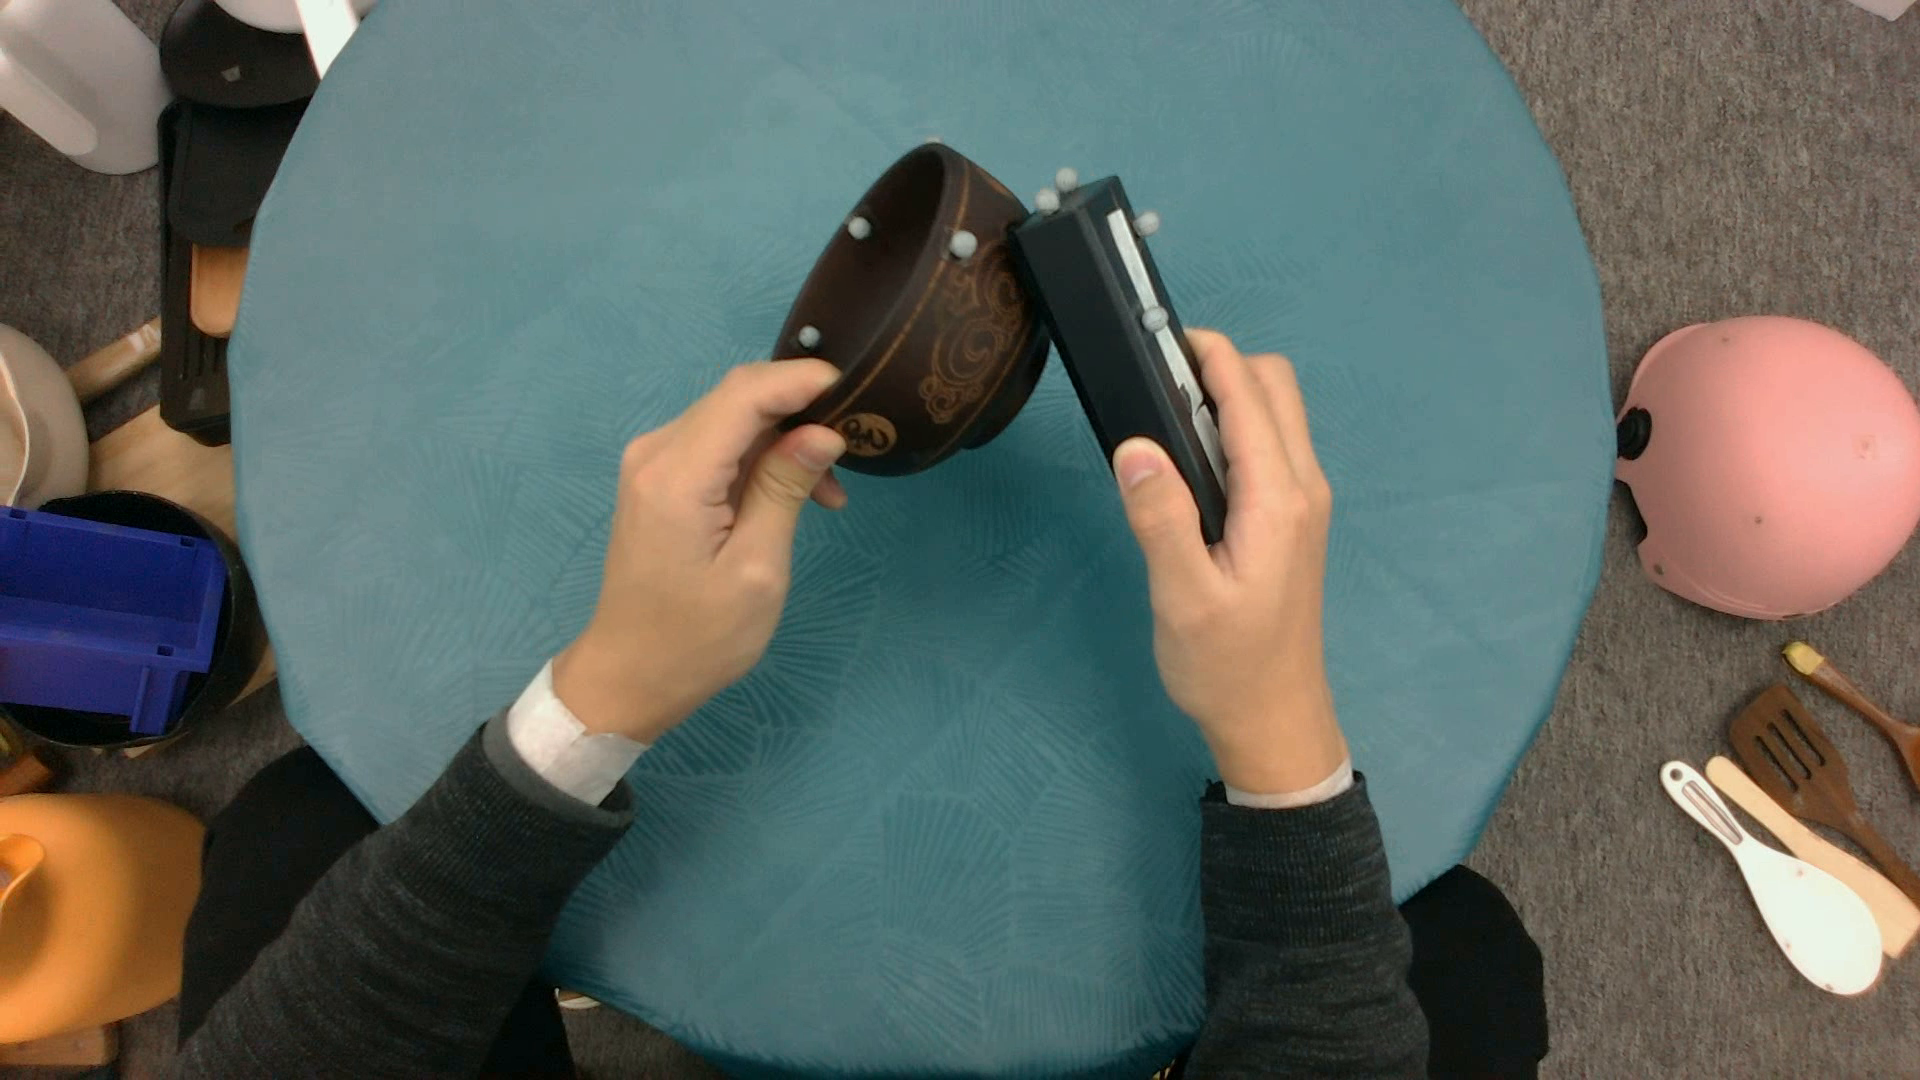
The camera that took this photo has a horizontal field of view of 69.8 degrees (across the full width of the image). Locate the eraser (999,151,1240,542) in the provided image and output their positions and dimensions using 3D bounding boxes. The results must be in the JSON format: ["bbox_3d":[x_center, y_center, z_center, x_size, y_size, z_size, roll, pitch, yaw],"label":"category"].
[{"bbox_3d":[0.057,-0.064,0.469,0.030,0.054,0.125,-15,111,30],"label":"eraser"}]

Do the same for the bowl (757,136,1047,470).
[{"bbox_3d":[-0.013,-0.077,0.495,0.070,0.118,0.118,30,77,-26],"label":"bowl"}]
